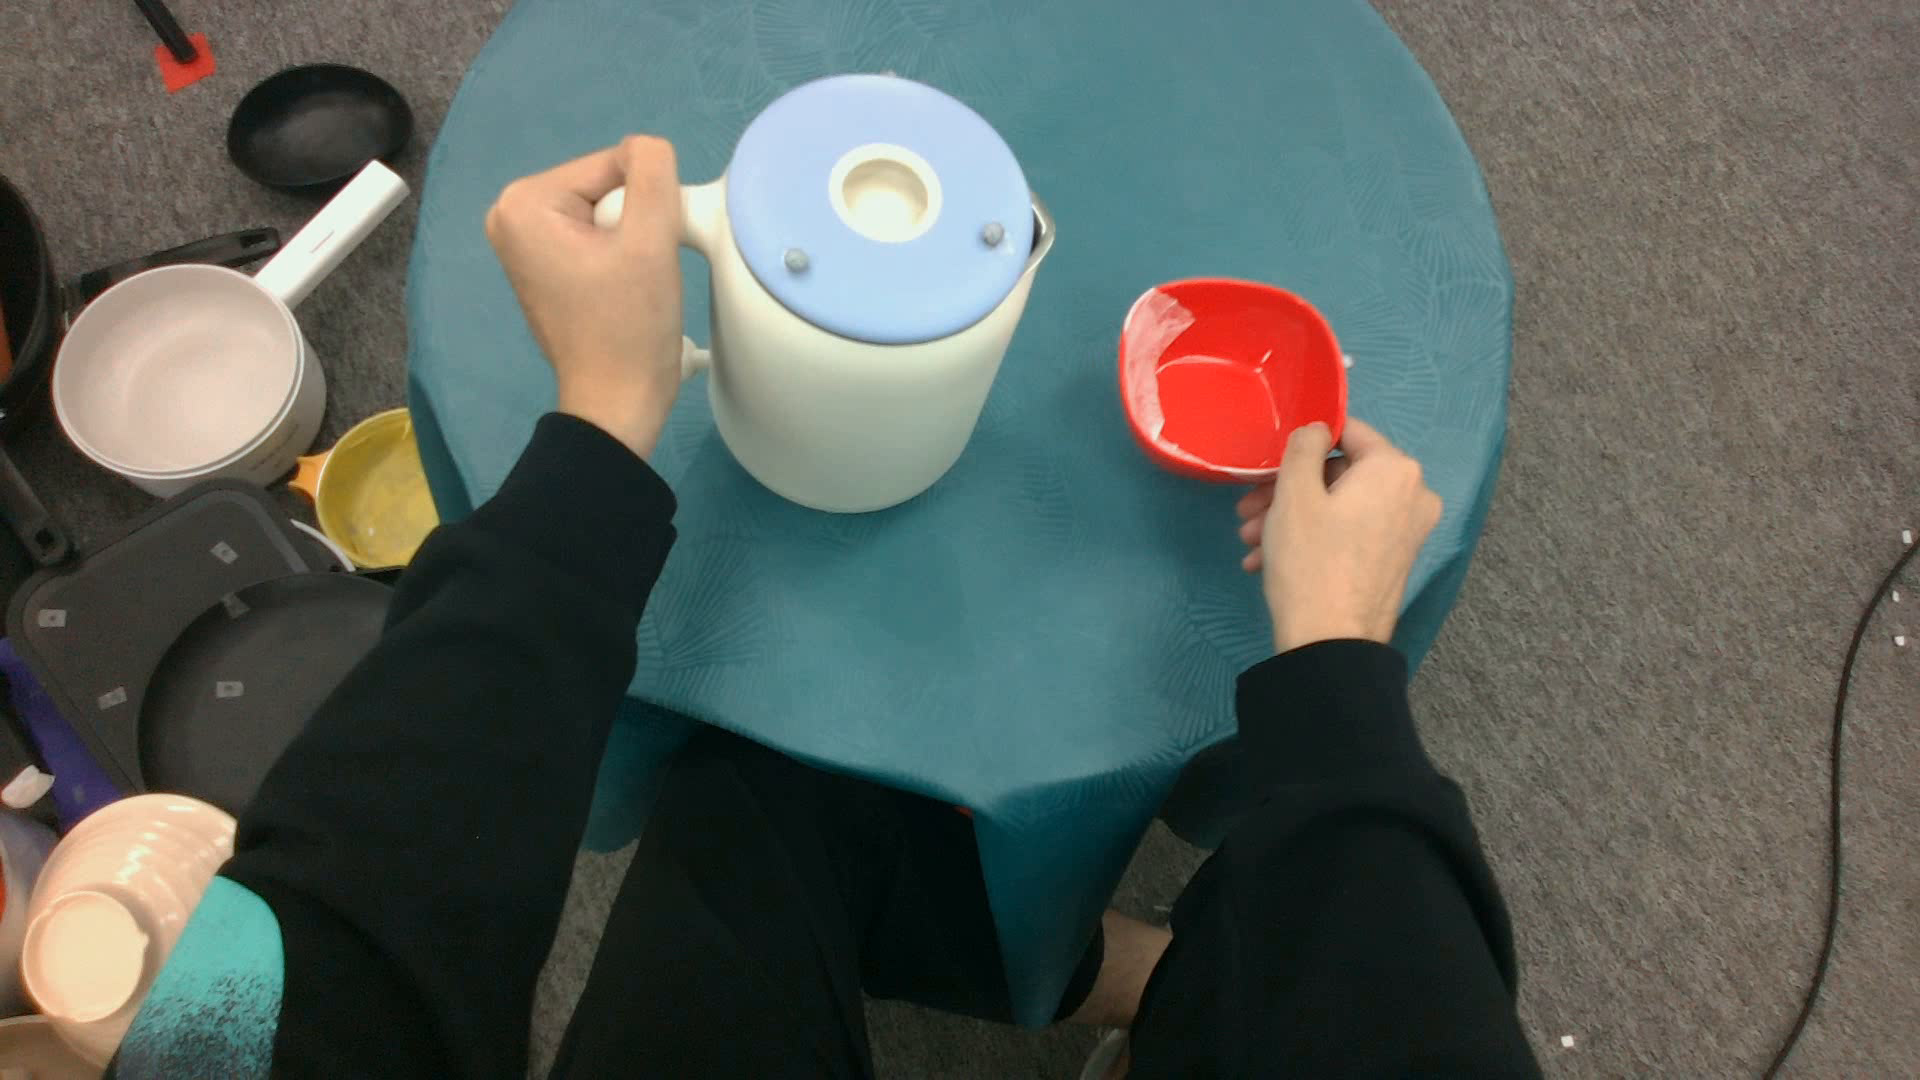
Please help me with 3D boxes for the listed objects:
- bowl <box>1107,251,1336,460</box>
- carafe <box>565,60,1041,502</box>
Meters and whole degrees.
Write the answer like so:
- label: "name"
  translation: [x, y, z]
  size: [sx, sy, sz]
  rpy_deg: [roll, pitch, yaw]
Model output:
- label: "bowl"
  translation: [0.121, -0.081, 0.670]
  size: [0.119, 0.051, 0.119]
  rpy_deg: [4, 63, -8]
- label: "carafe"
  translation: [-0.074, -0.107, 0.599]
  size: [0.191, 0.182, 0.132]
  rpy_deg: [2, 68, -9]
